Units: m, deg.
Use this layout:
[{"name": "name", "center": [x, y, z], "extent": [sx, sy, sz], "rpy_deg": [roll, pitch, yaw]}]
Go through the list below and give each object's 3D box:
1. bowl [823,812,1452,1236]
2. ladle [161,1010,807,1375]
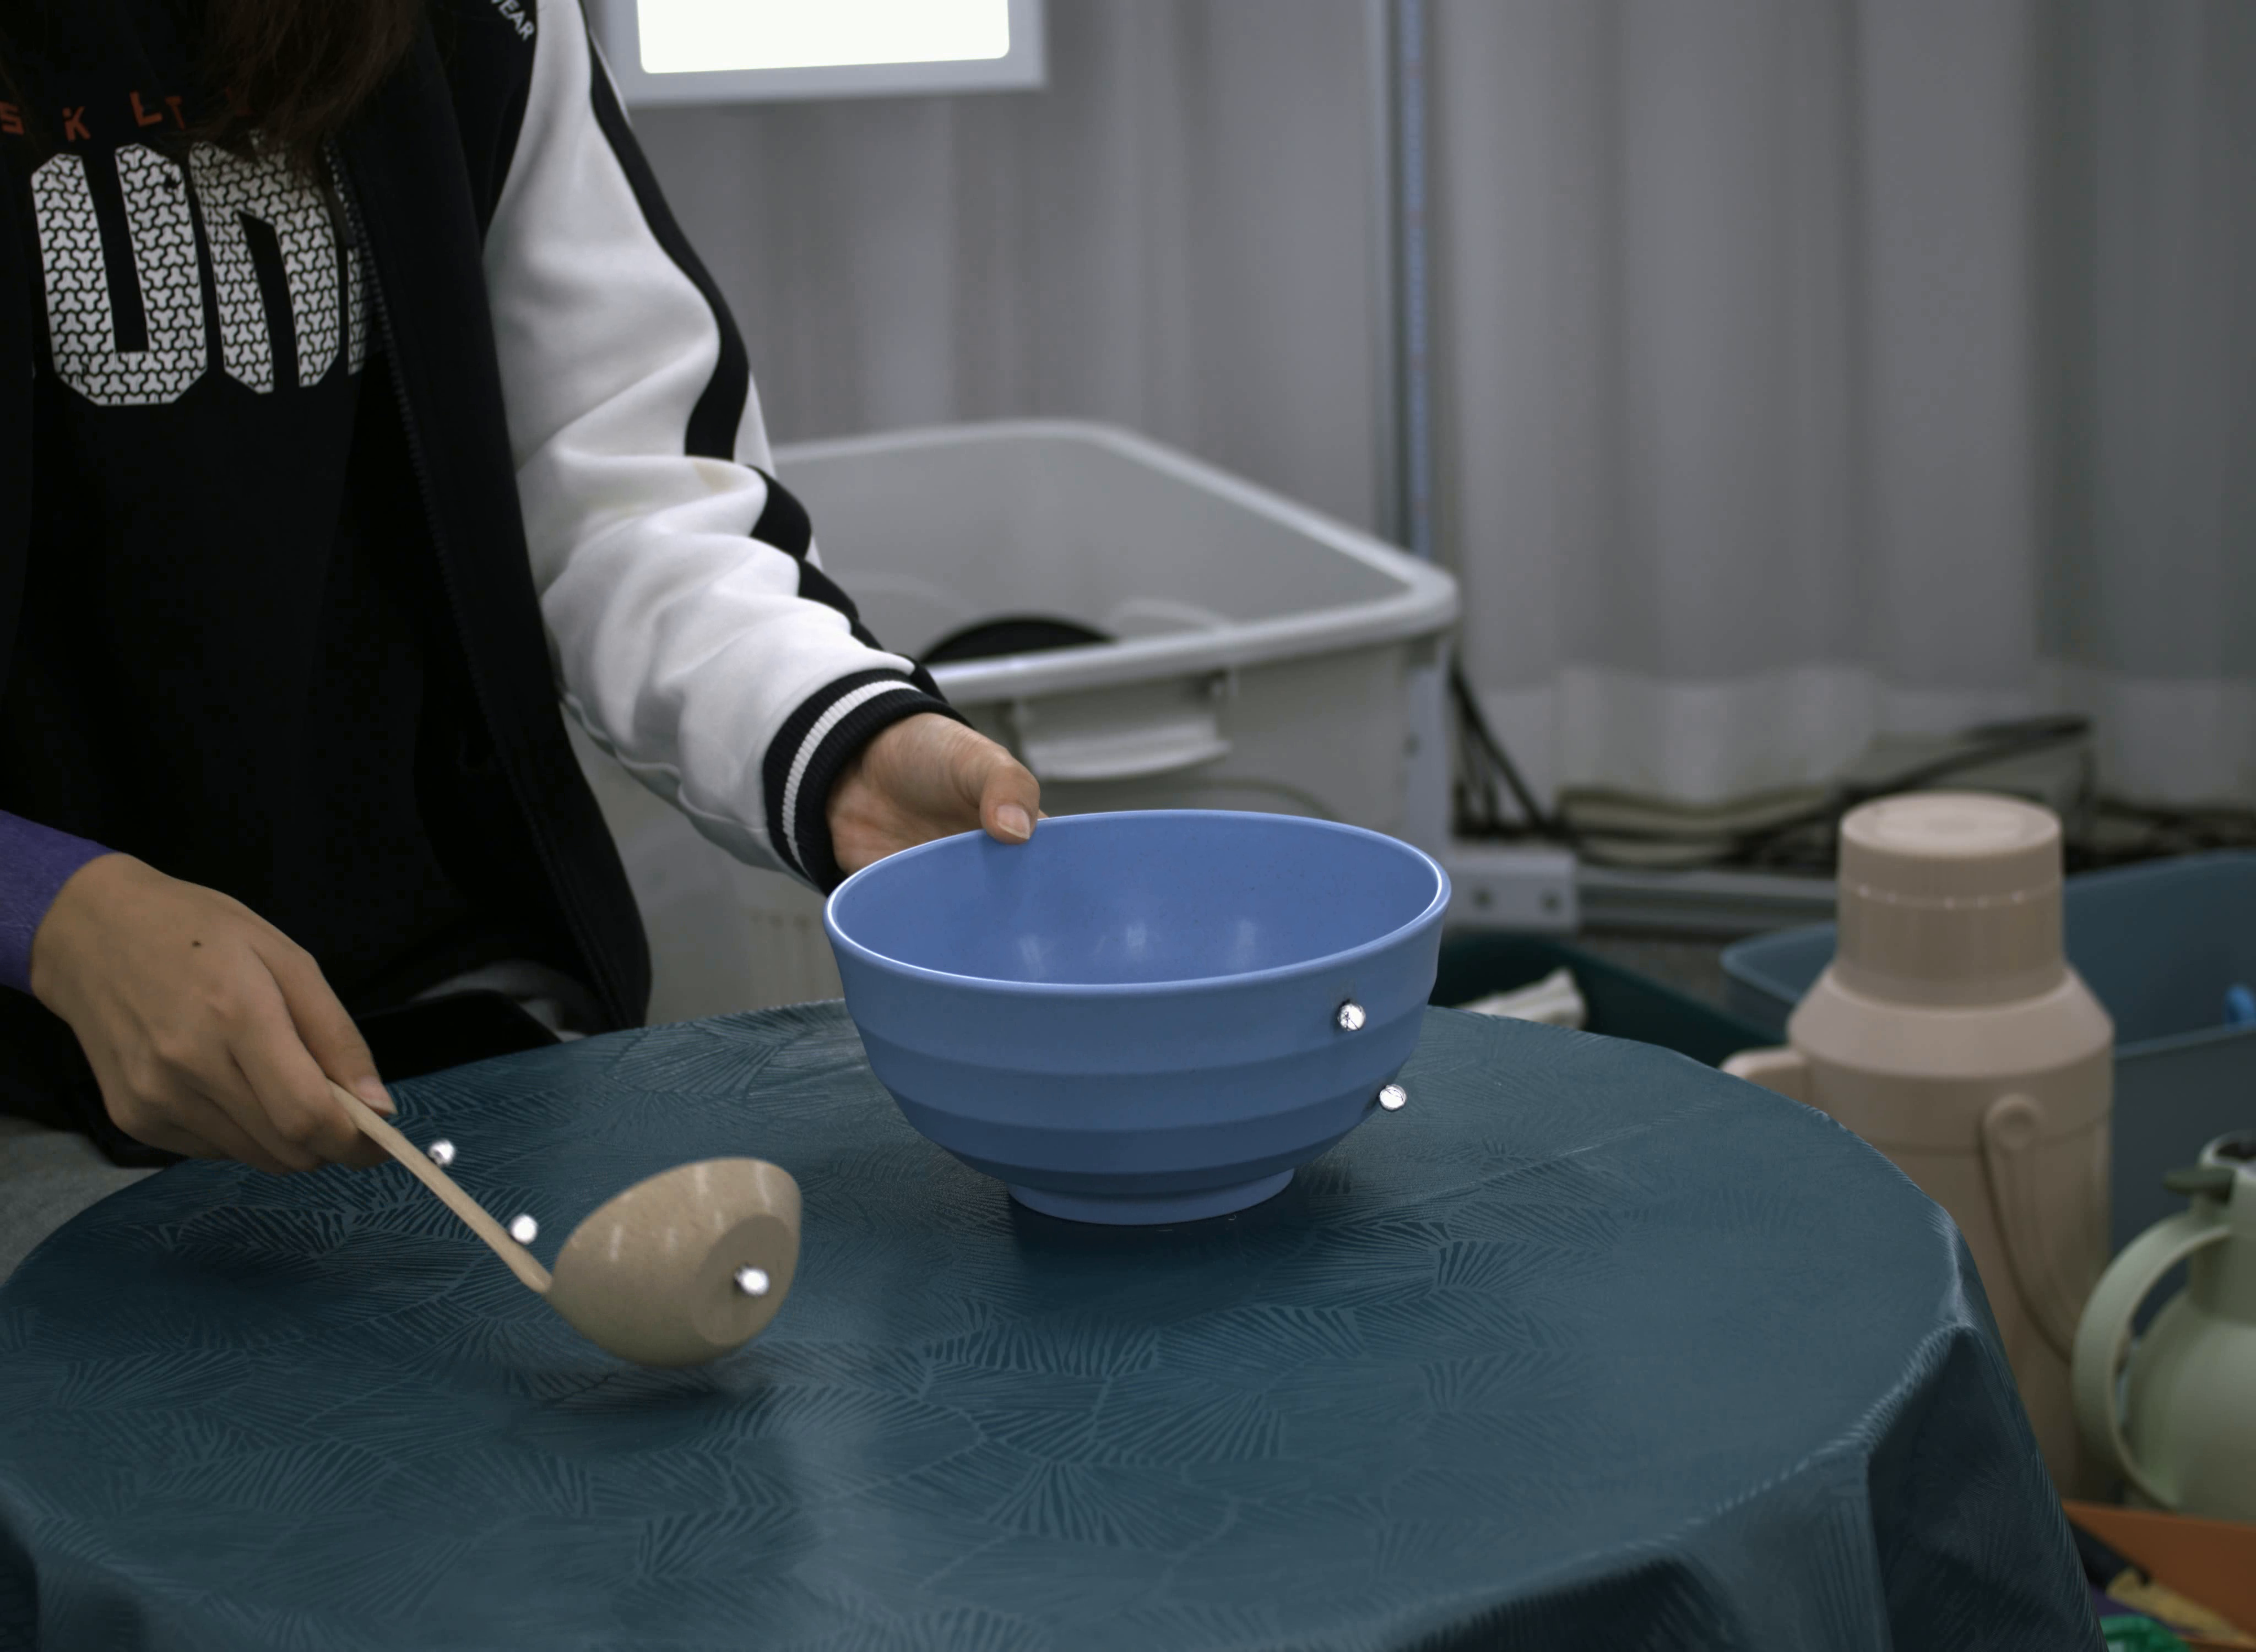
[{"name": "bowl", "center": [0.005, 0.068, 1.712], "extent": [0.196, 0.095, 0.198], "rpy_deg": [-3, 16, 1]}, {"name": "ladle", "center": [-0.193, 0.082, 1.621], "extent": [0.257, 0.073, 0.071], "rpy_deg": [31, -3, 38]}]
